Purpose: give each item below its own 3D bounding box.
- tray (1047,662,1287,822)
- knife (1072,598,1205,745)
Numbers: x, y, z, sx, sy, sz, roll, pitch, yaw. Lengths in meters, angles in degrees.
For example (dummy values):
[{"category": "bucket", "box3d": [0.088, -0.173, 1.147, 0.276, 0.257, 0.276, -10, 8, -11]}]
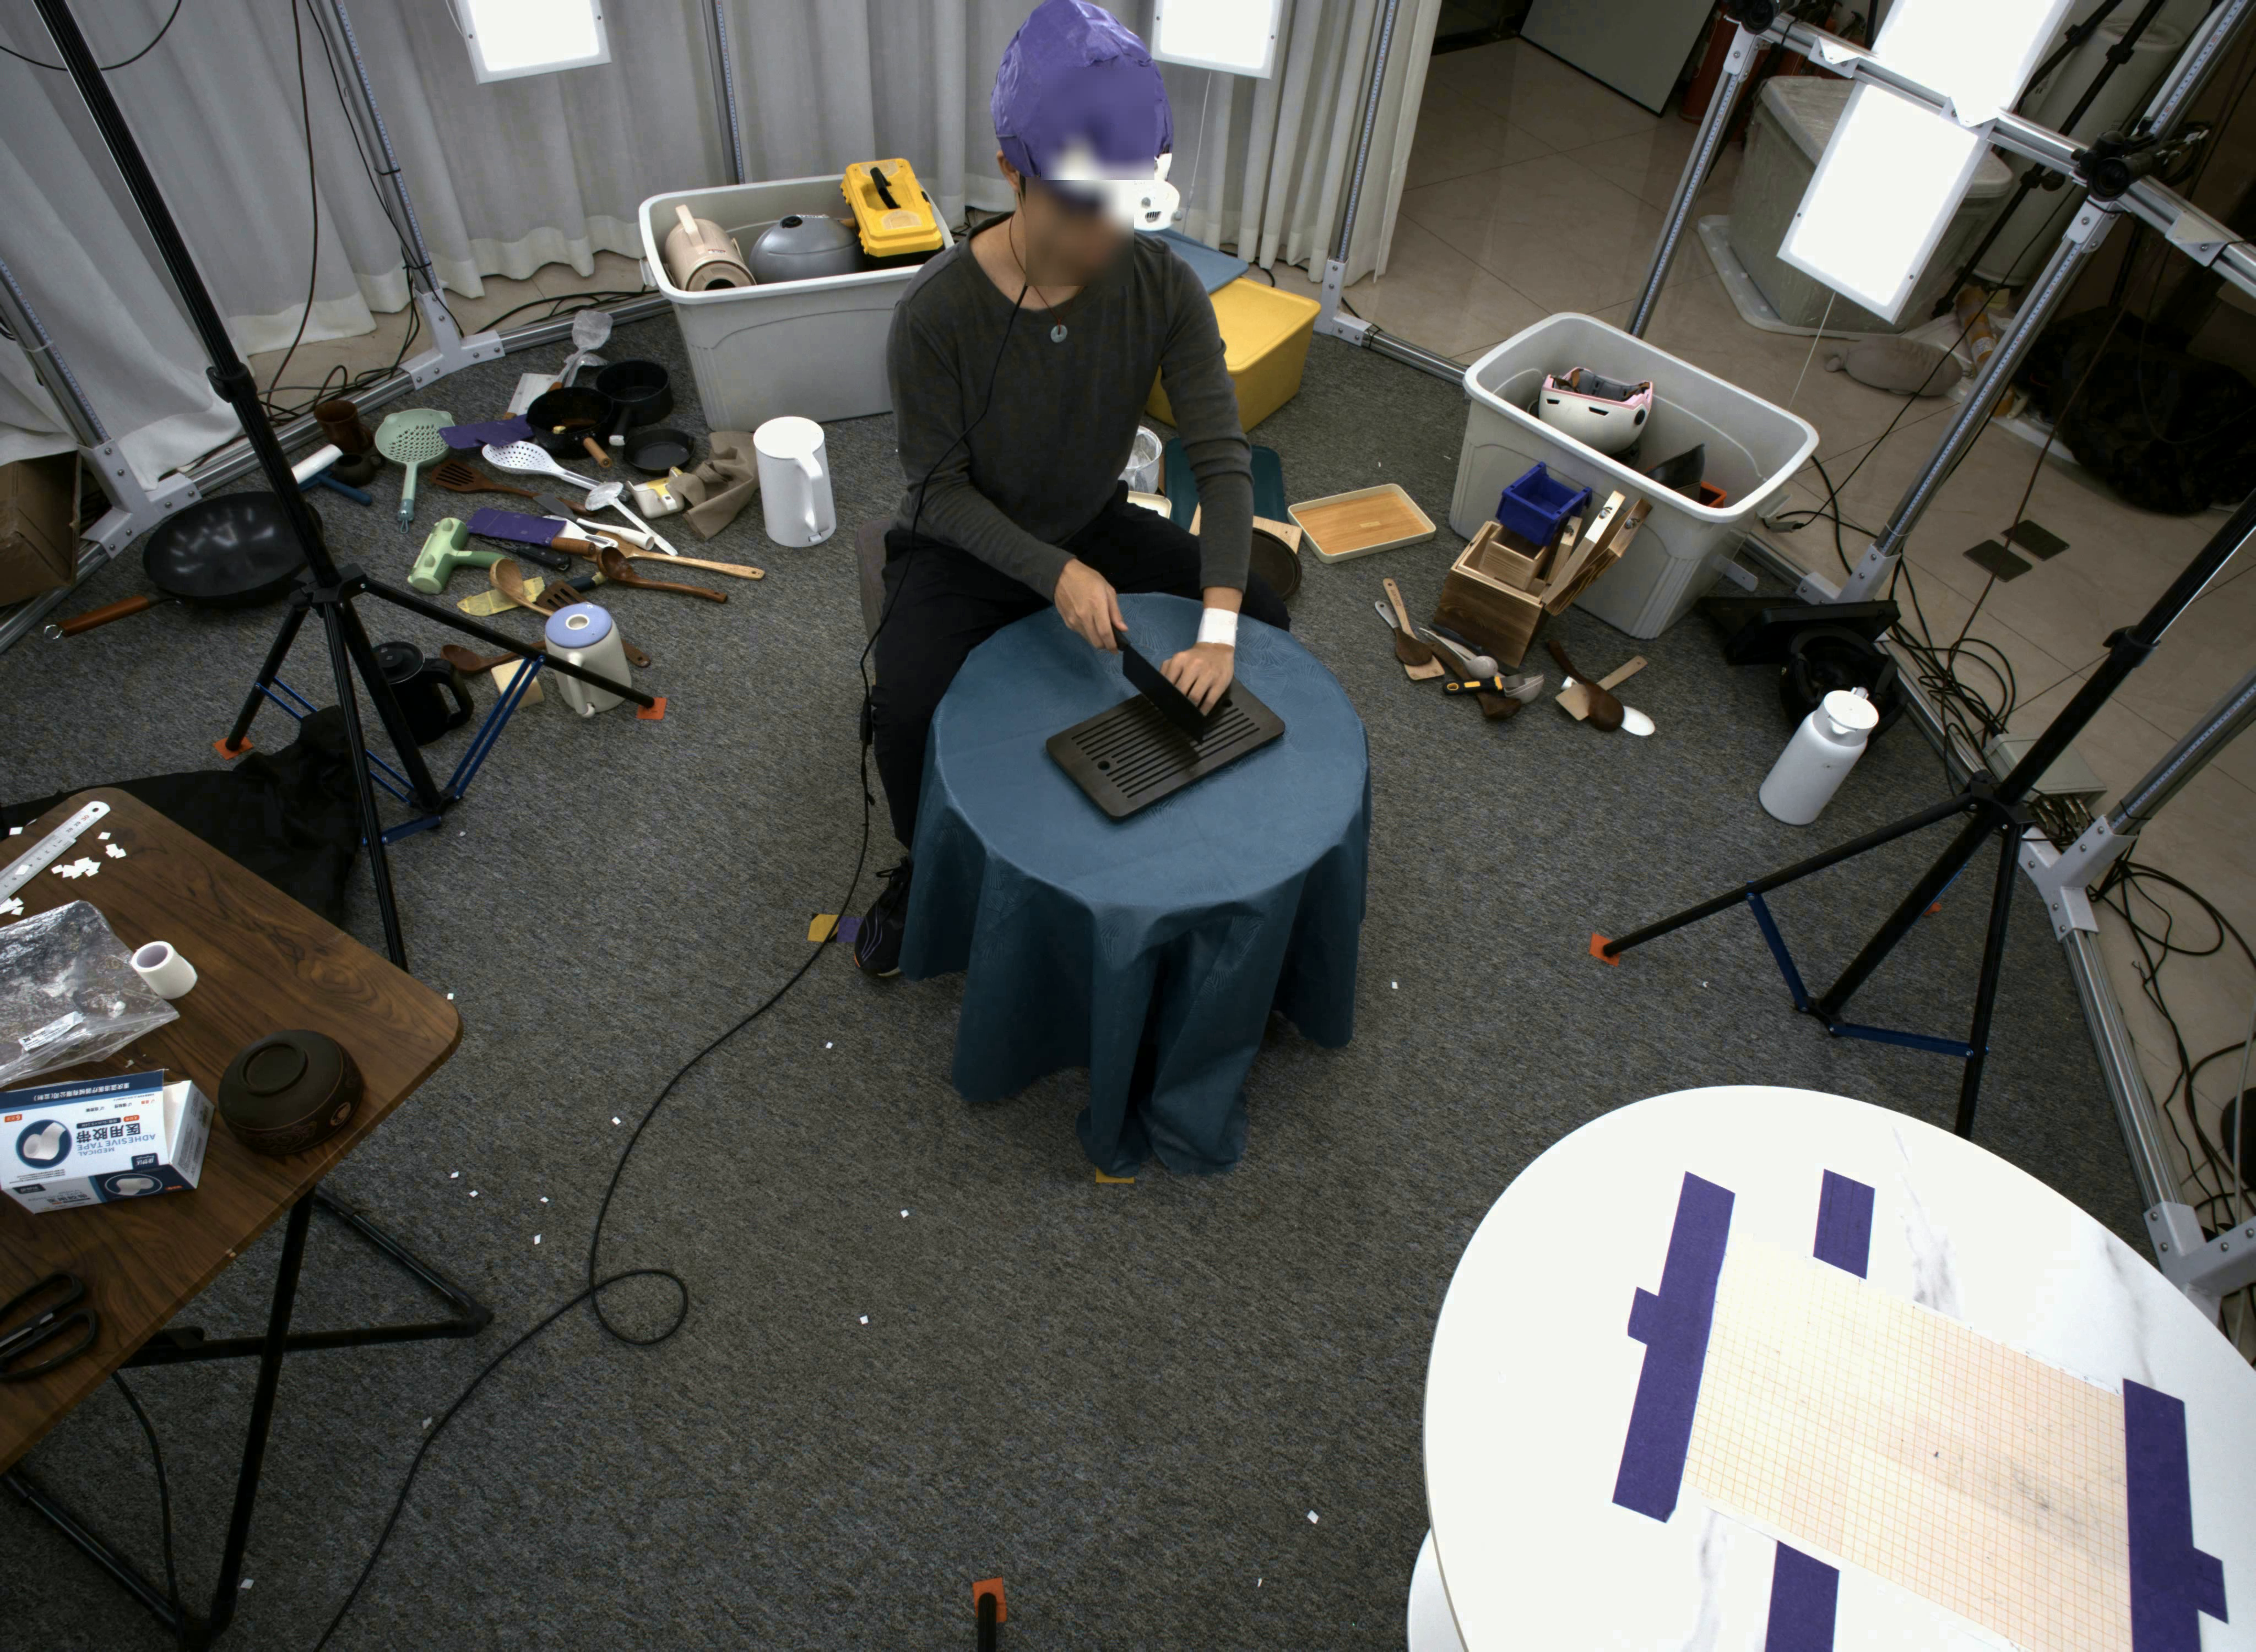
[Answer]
[{"category": "tray", "box3d": [0.055, -0.119, 1.762, 0.307, 0.018, 0.173, -28, 55, -25]}, {"category": "knife", "box3d": [0.013, -0.222, 1.790, 0.021, 0.079, 0.308, -26, 58, -25]}]
